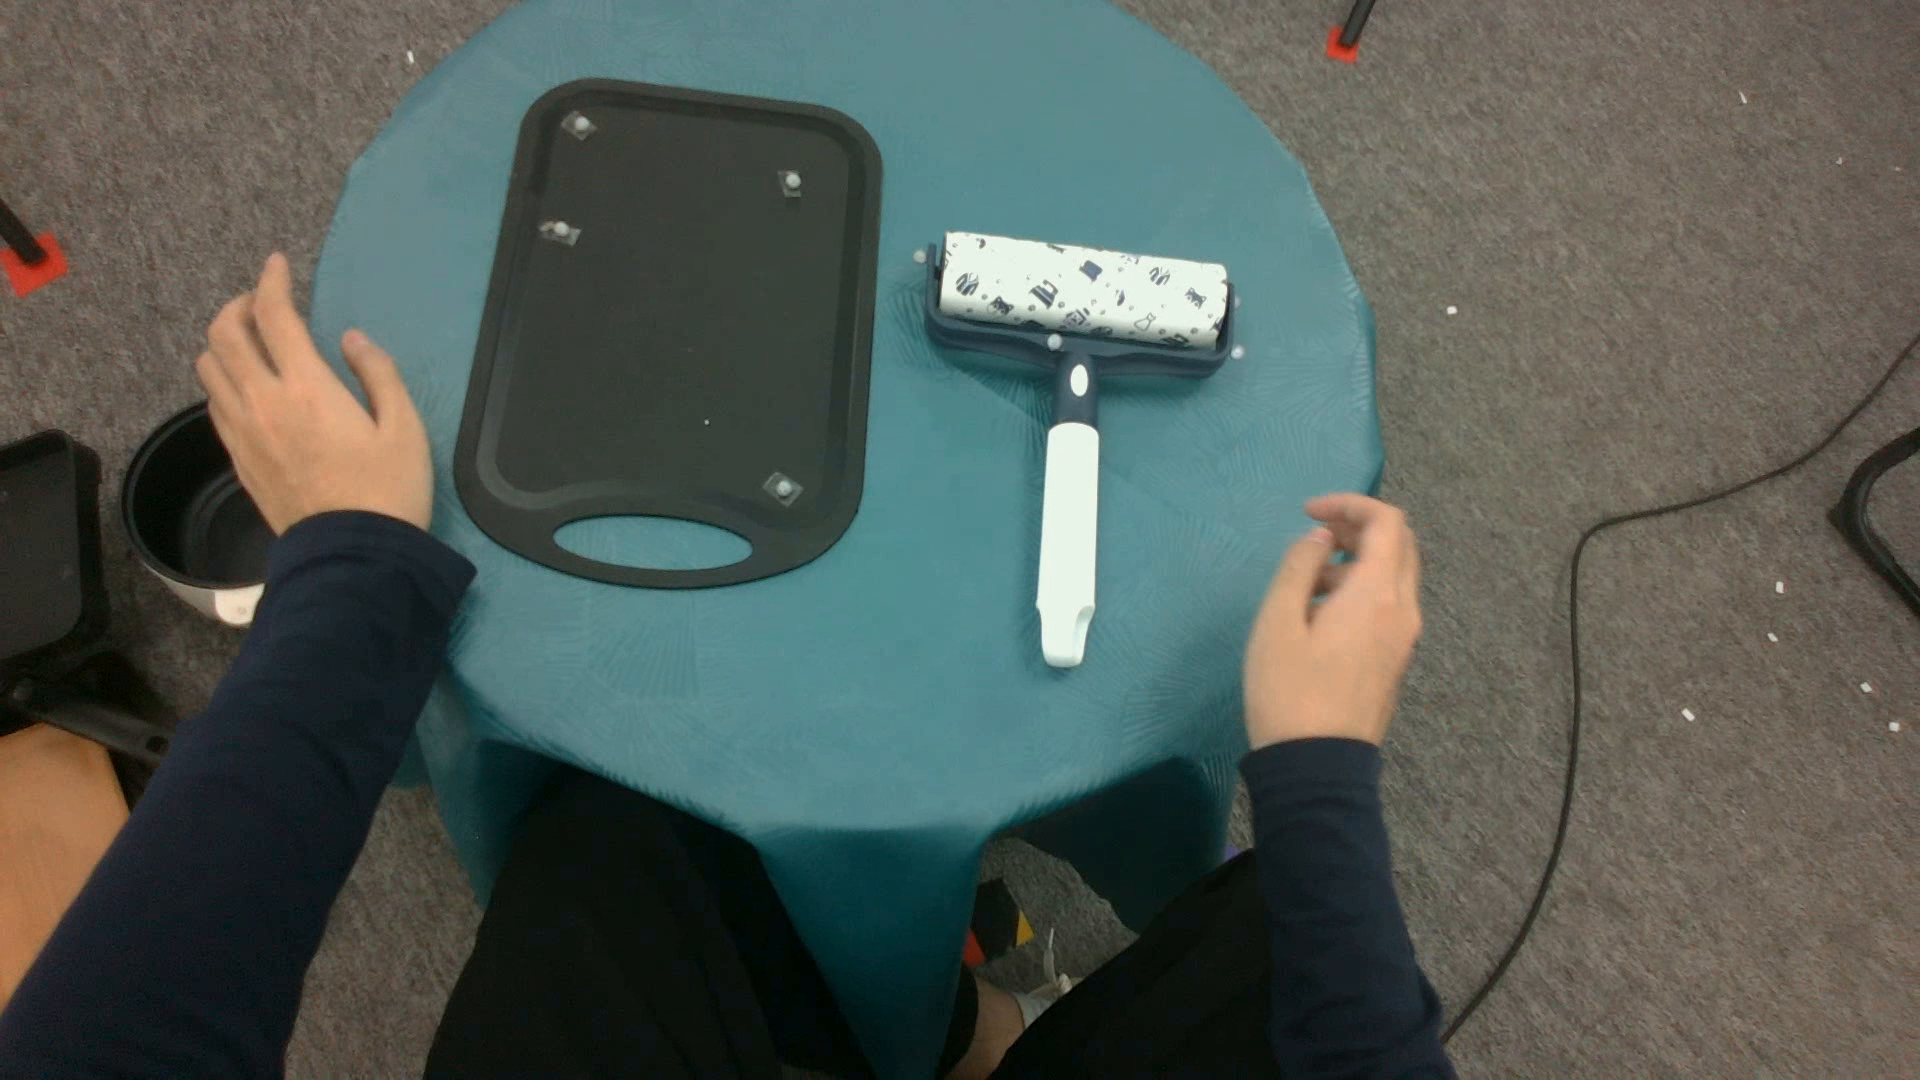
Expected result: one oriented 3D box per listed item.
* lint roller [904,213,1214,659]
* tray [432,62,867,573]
[{"bbox_3d":[0.052,-0.058,0.747,0.176,0.050,0.248,7,68,-8],"label":"lint roller"},{"bbox_3d":[-0.163,-0.132,0.761,0.211,0.010,0.326,6,65,-7],"label":"tray"}]
